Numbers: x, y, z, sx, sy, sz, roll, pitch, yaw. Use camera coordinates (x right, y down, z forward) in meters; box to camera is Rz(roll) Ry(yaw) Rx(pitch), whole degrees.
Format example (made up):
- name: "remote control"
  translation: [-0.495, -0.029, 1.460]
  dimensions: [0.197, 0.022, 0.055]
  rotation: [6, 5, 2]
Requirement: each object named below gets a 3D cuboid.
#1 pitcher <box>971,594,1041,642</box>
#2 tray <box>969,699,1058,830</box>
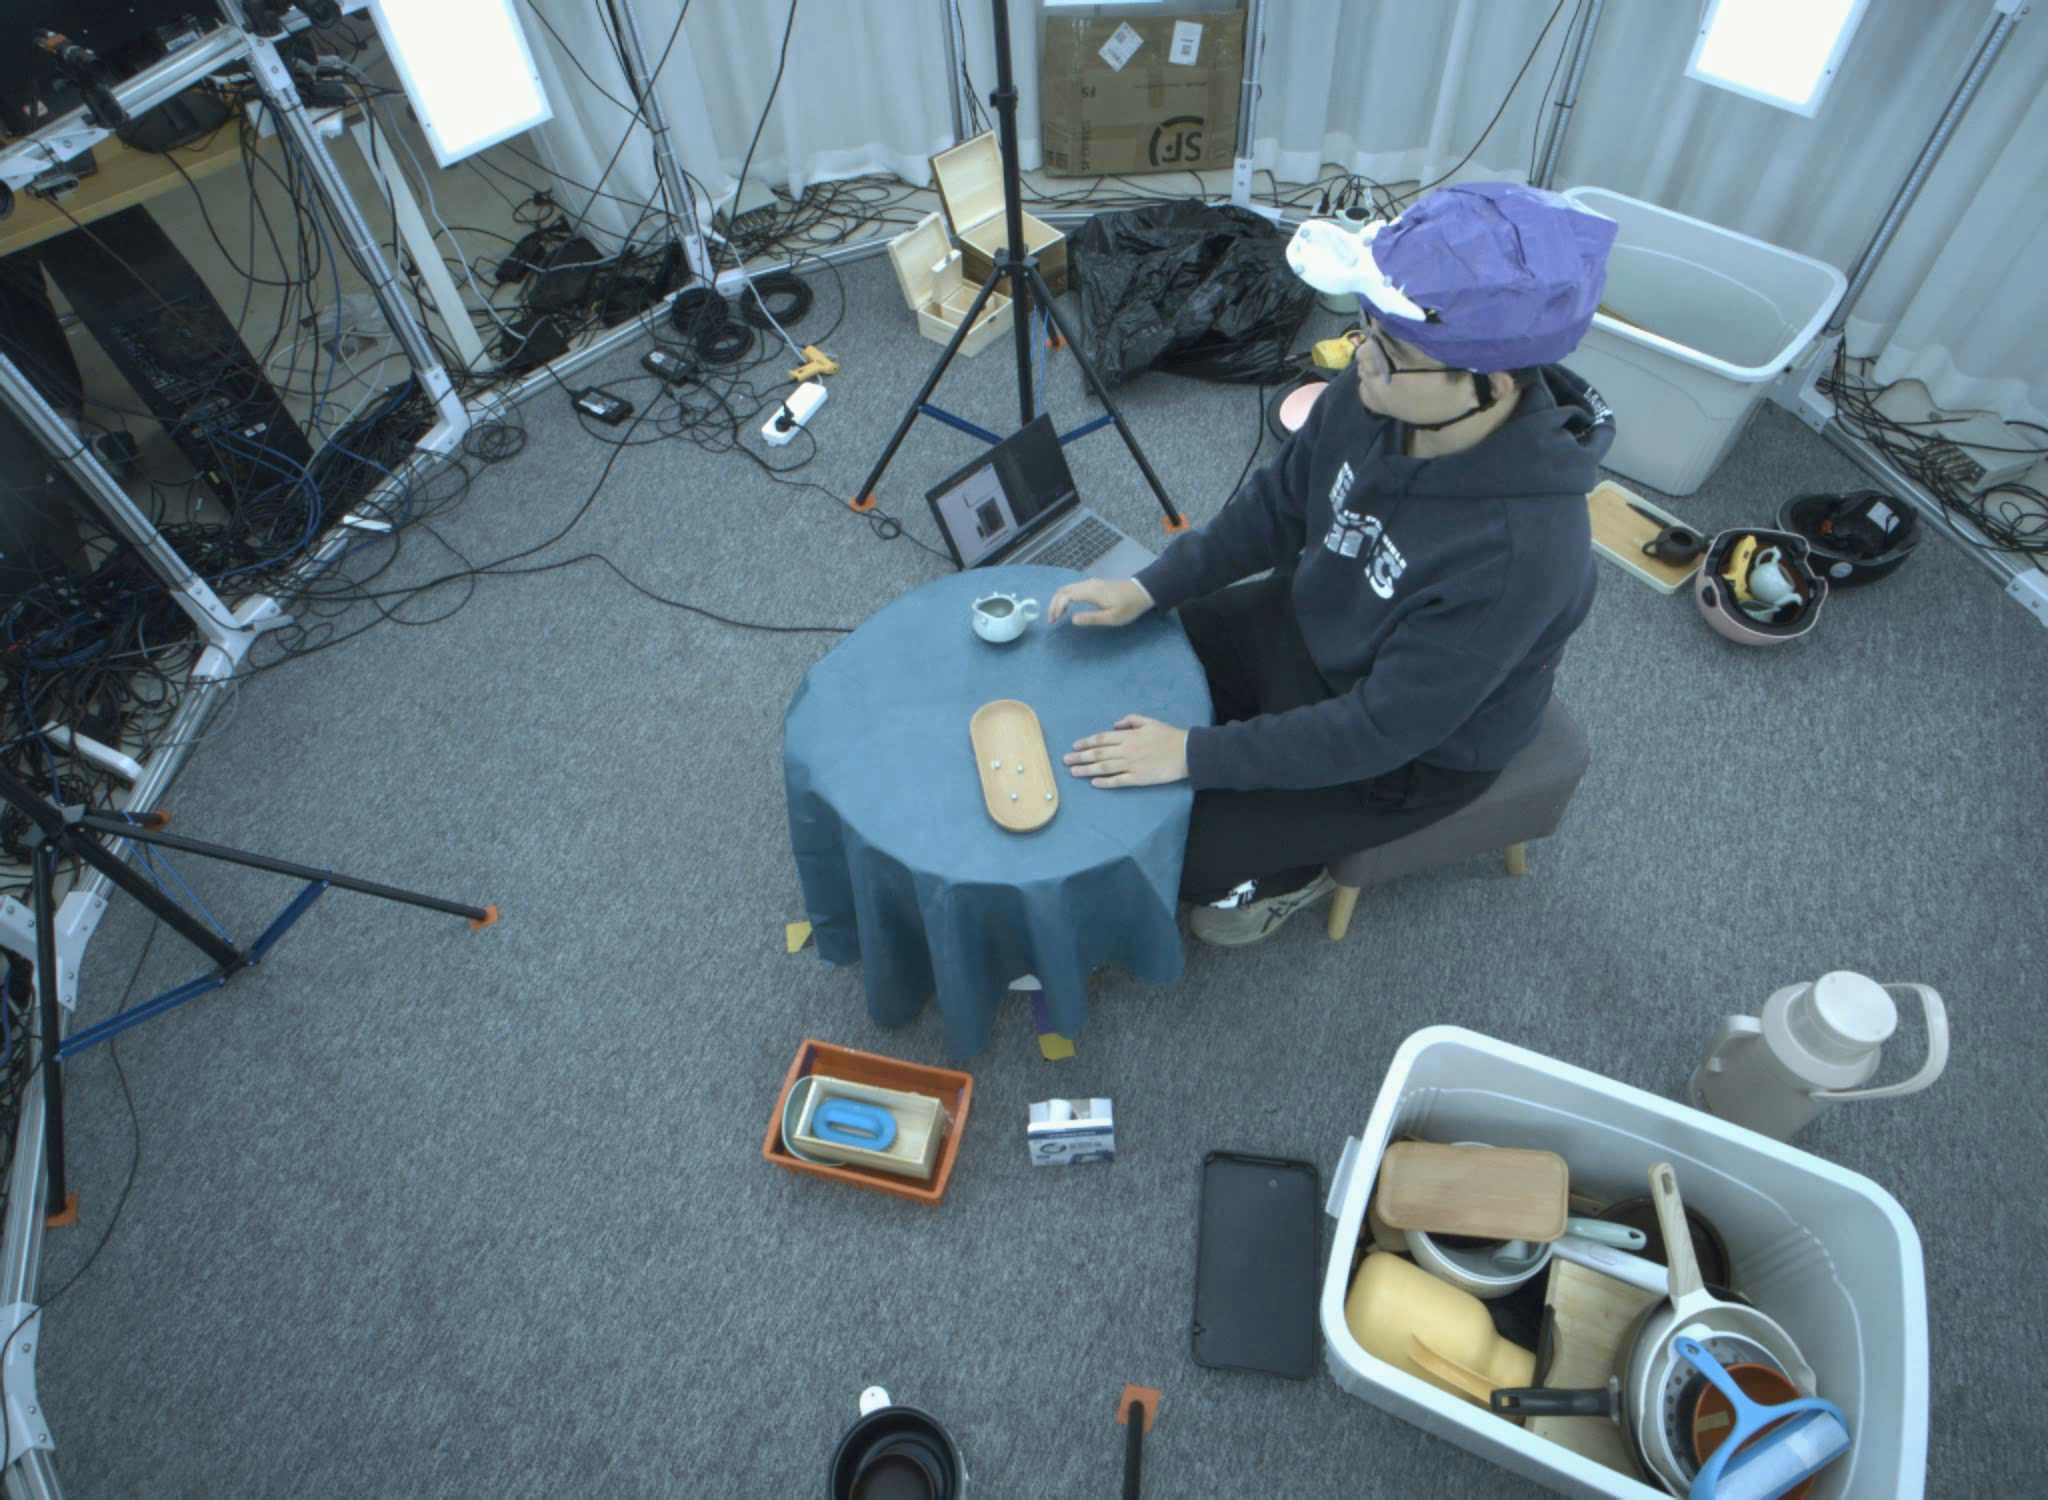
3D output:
- name: "pitcher"
  translation: [-0.029, -0.208, 1.901]
  dimensions: [0.108, 0.061, 0.085]
  rotation: [-3, 56, -3]
- name: "tray"
  translation: [-0.016, 0.018, 1.766]
  dimensions: [0.102, 0.020, 0.227]
  rotation: [-10, 53, -7]
